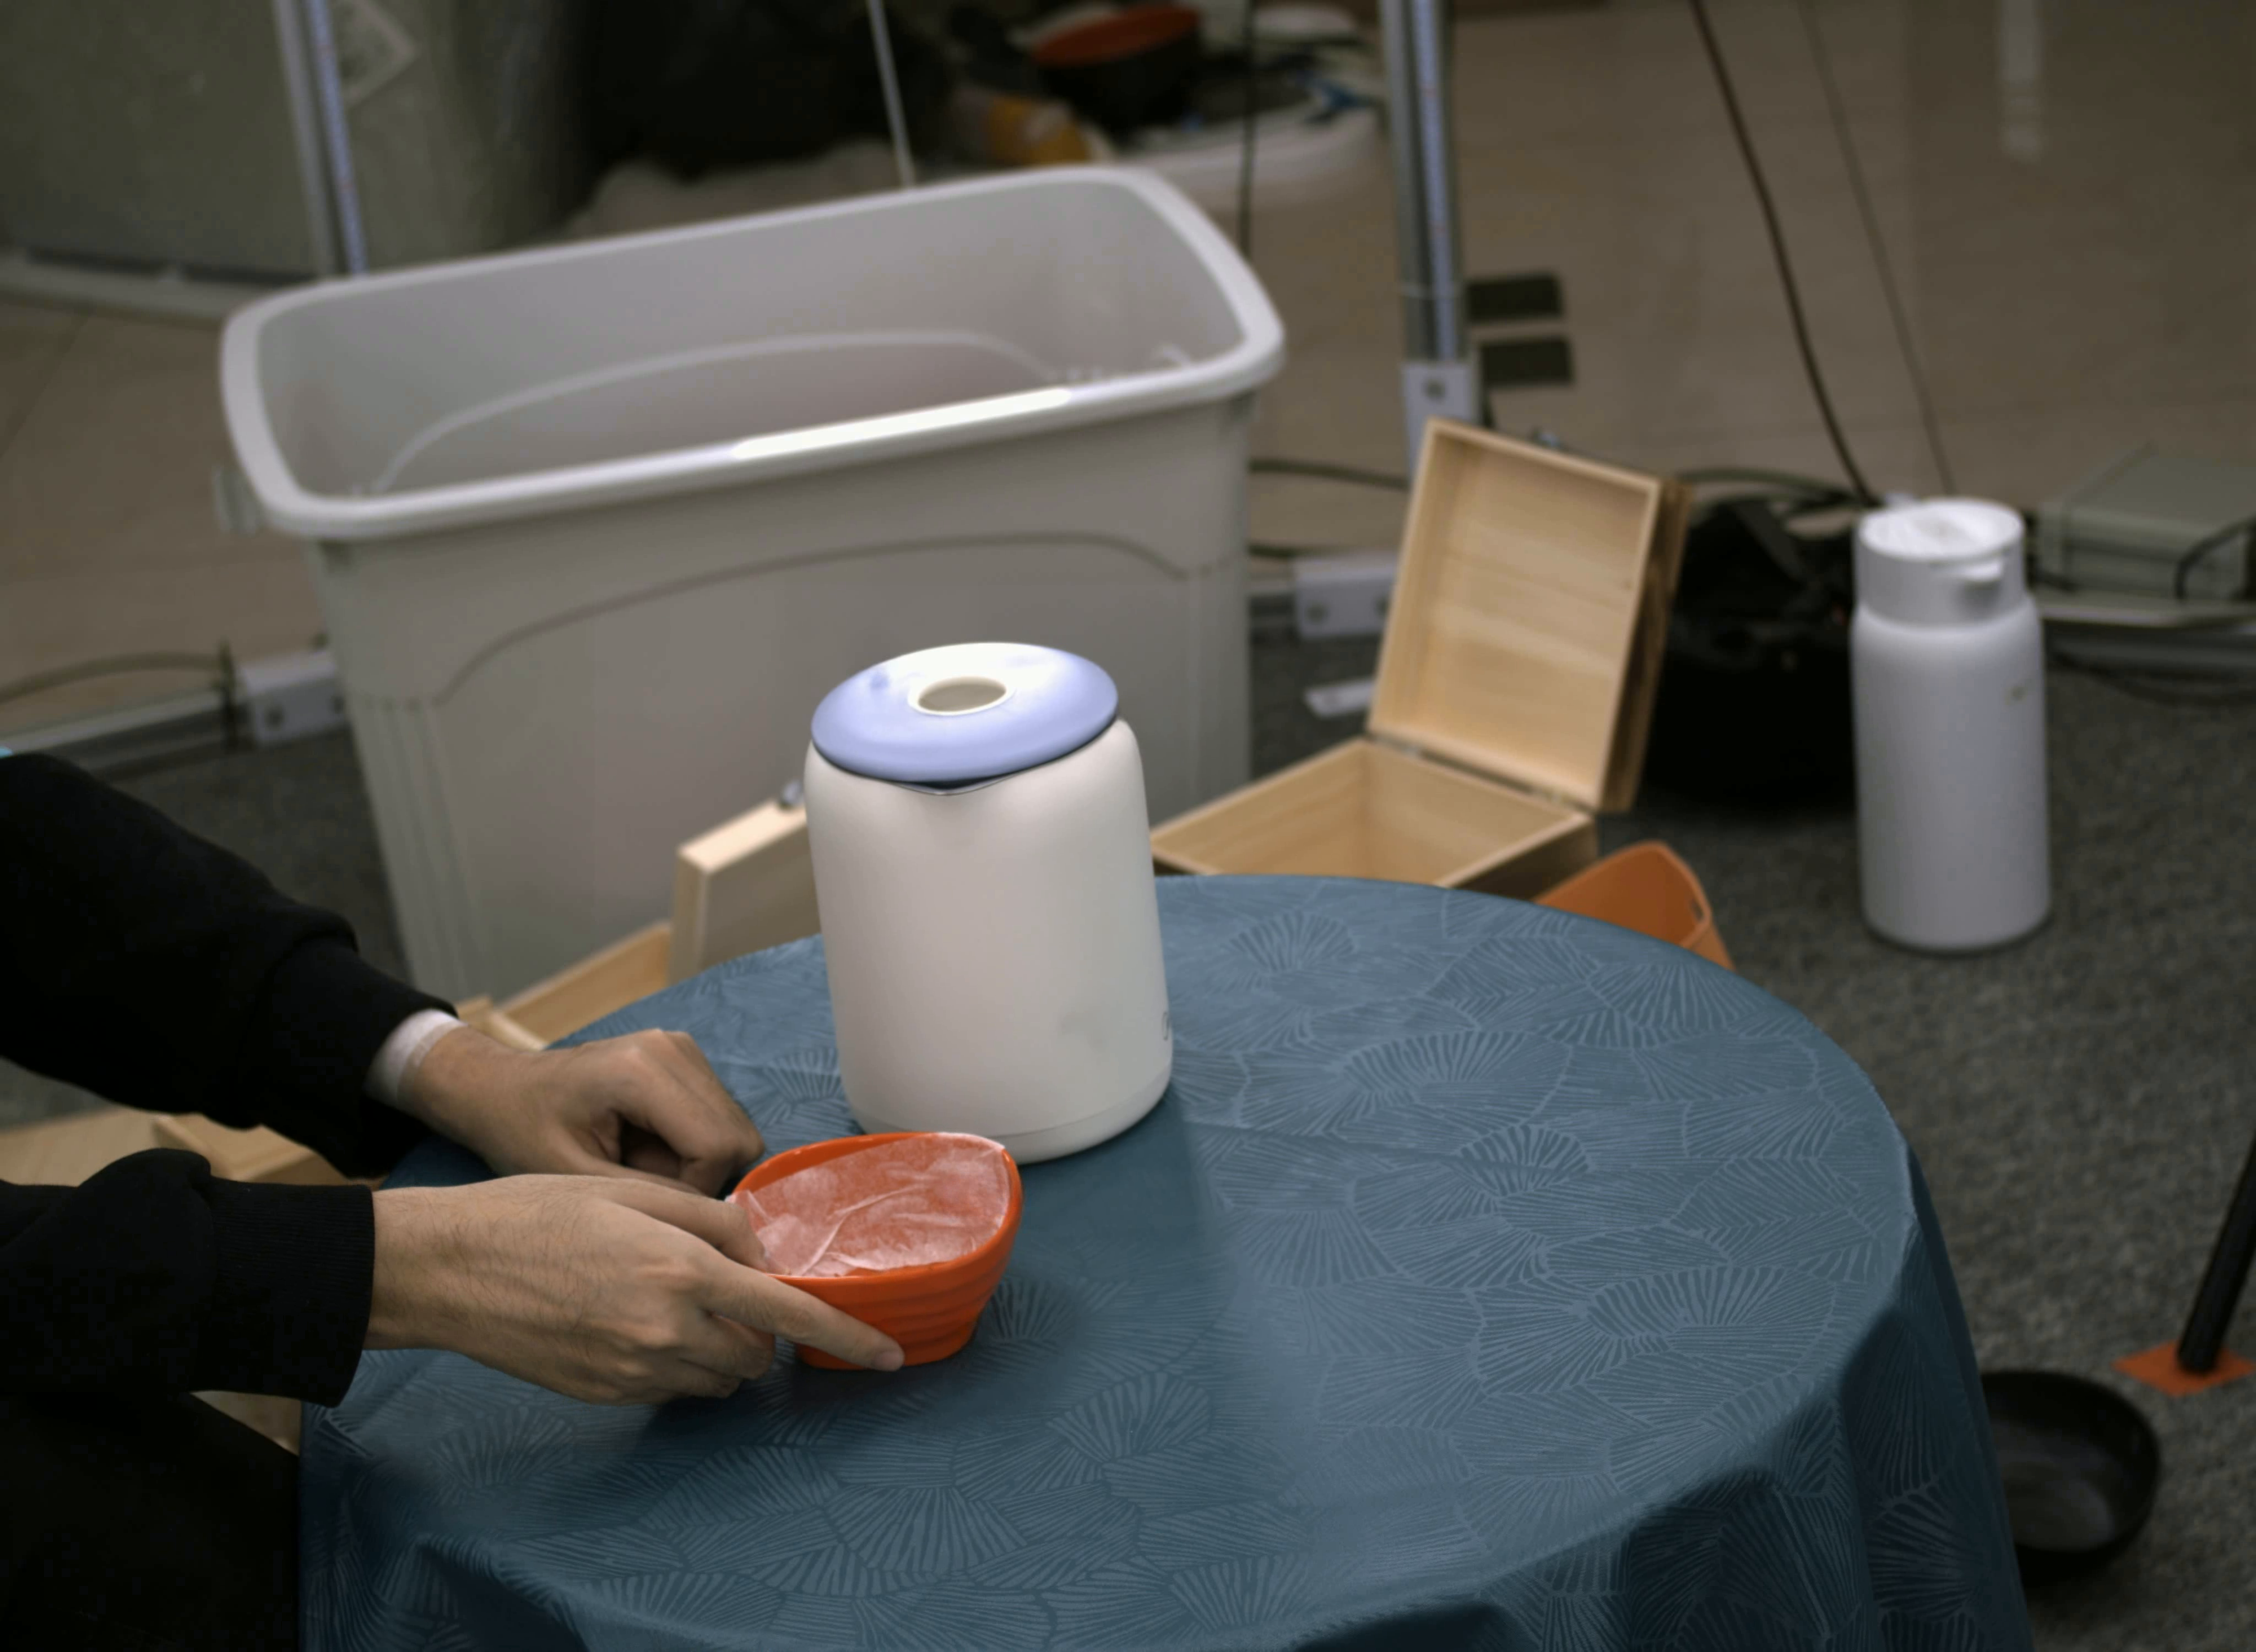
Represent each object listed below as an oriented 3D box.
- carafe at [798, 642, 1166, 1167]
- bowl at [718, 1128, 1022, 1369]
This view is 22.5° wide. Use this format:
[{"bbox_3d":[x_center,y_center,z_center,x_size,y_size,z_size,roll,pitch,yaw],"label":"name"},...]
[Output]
[{"bbox_3d":[-0.056,0.020,2.207,0.132,0.185,0.188,-4,23,3],"label":"carafe"},{"bbox_3d":[-0.092,0.158,2.062,0.119,0.052,0.117,-4,27,2],"label":"bowl"}]
